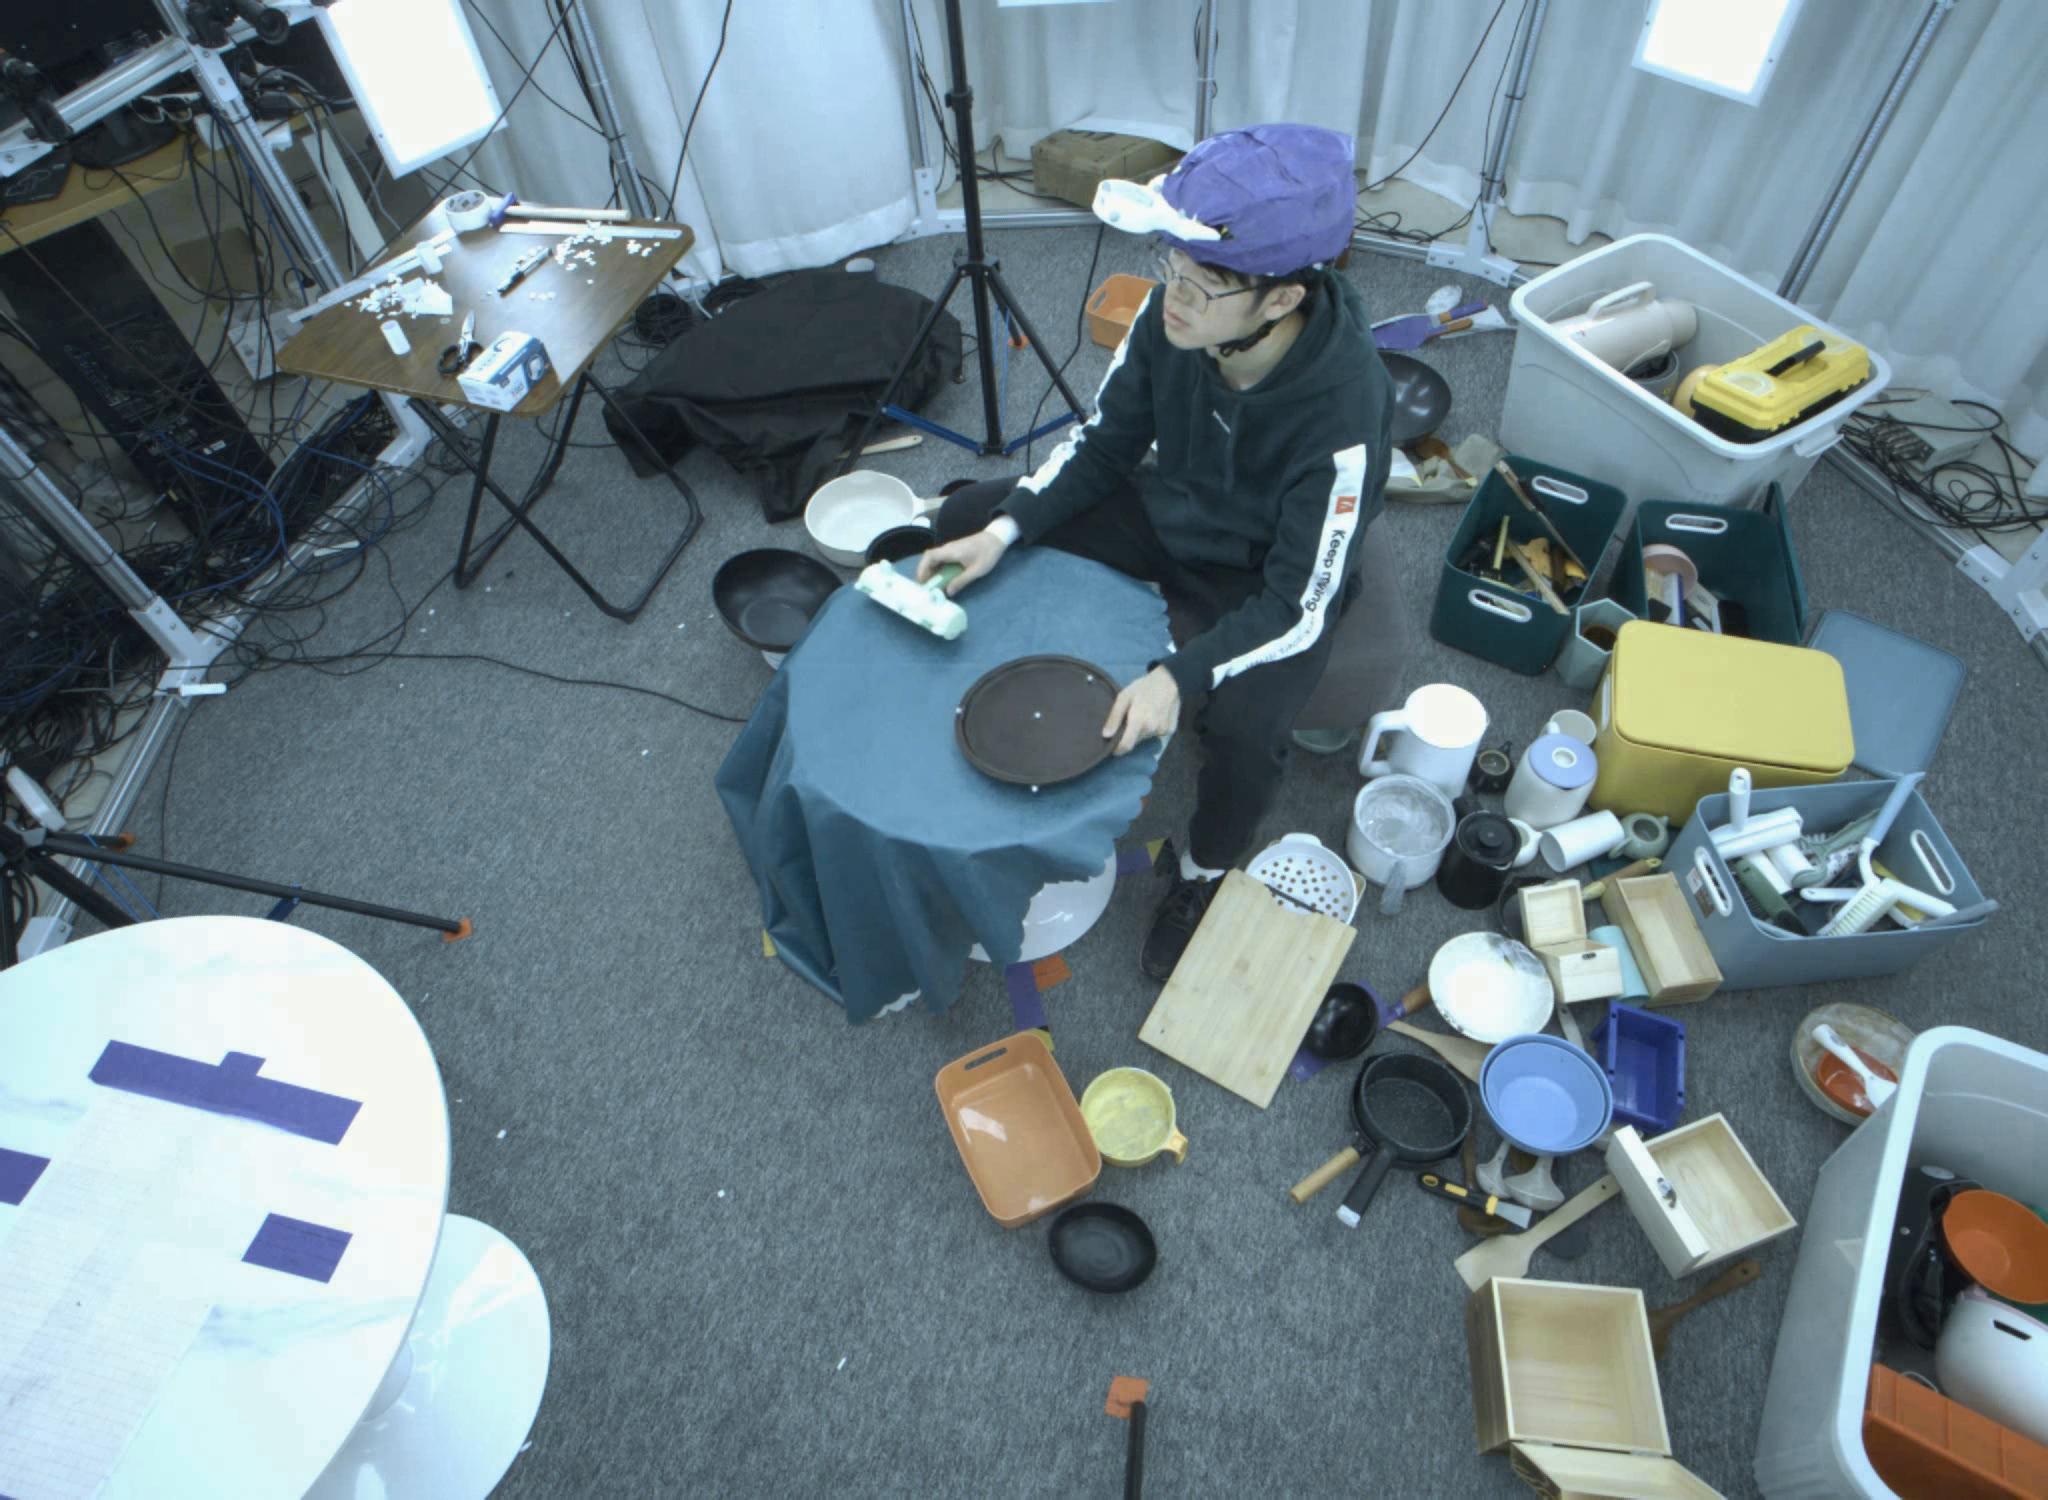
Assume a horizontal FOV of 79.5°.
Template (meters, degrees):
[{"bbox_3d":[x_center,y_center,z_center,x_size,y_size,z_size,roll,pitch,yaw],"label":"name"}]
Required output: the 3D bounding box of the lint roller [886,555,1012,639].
[{"bbox_3d":[-0.090,-0.272,1.923,0.194,0.083,0.184,33,63,29],"label":"lint roller"}]

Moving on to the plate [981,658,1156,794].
[{"bbox_3d":[0.065,-0.037,1.779,0.254,0.029,0.252,-4,50,6],"label":"plate"}]
